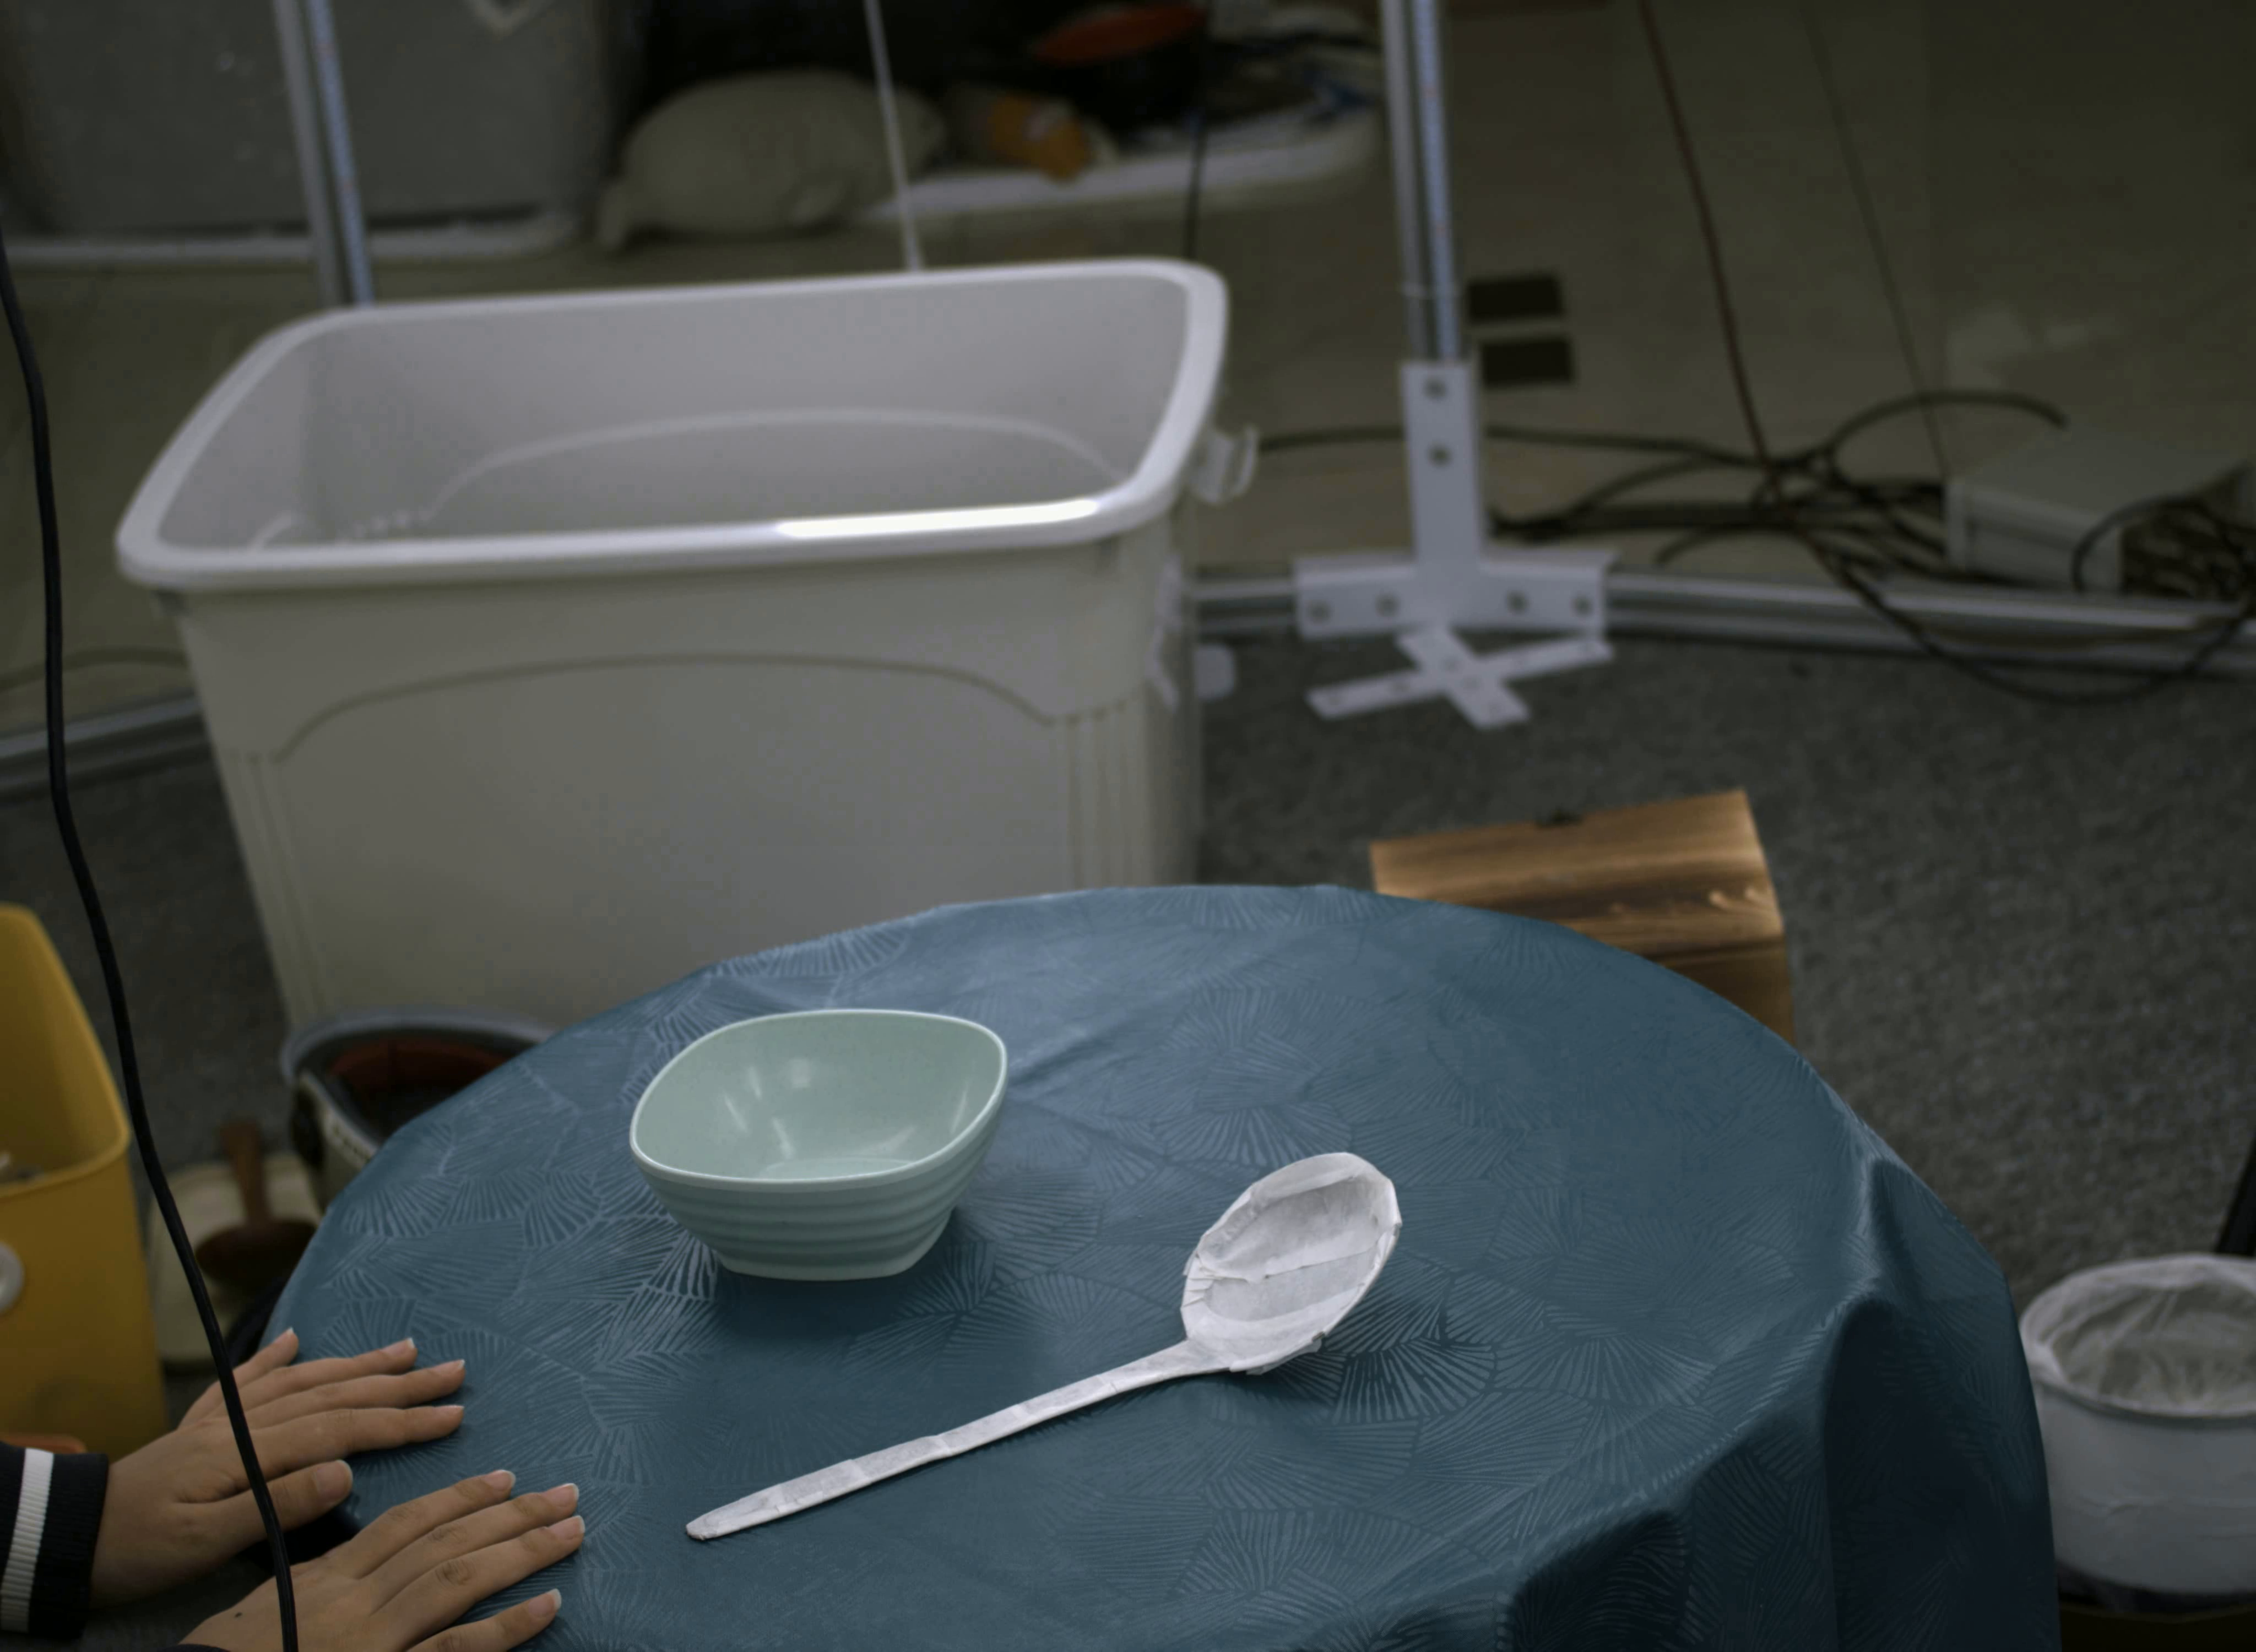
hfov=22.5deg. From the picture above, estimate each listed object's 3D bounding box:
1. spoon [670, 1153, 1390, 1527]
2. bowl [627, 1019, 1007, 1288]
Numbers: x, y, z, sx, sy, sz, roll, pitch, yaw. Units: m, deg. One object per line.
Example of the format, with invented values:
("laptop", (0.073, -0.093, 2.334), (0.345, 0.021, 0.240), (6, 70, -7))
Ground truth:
("spoon", (-0.036, 0.180, 2.001), (0.276, 0.060, 0.099), (-15, 22, -18))
("bowl", (-0.113, 0.129, 2.135), (0.151, 0.059, 0.149), (-5, 25, 3))
